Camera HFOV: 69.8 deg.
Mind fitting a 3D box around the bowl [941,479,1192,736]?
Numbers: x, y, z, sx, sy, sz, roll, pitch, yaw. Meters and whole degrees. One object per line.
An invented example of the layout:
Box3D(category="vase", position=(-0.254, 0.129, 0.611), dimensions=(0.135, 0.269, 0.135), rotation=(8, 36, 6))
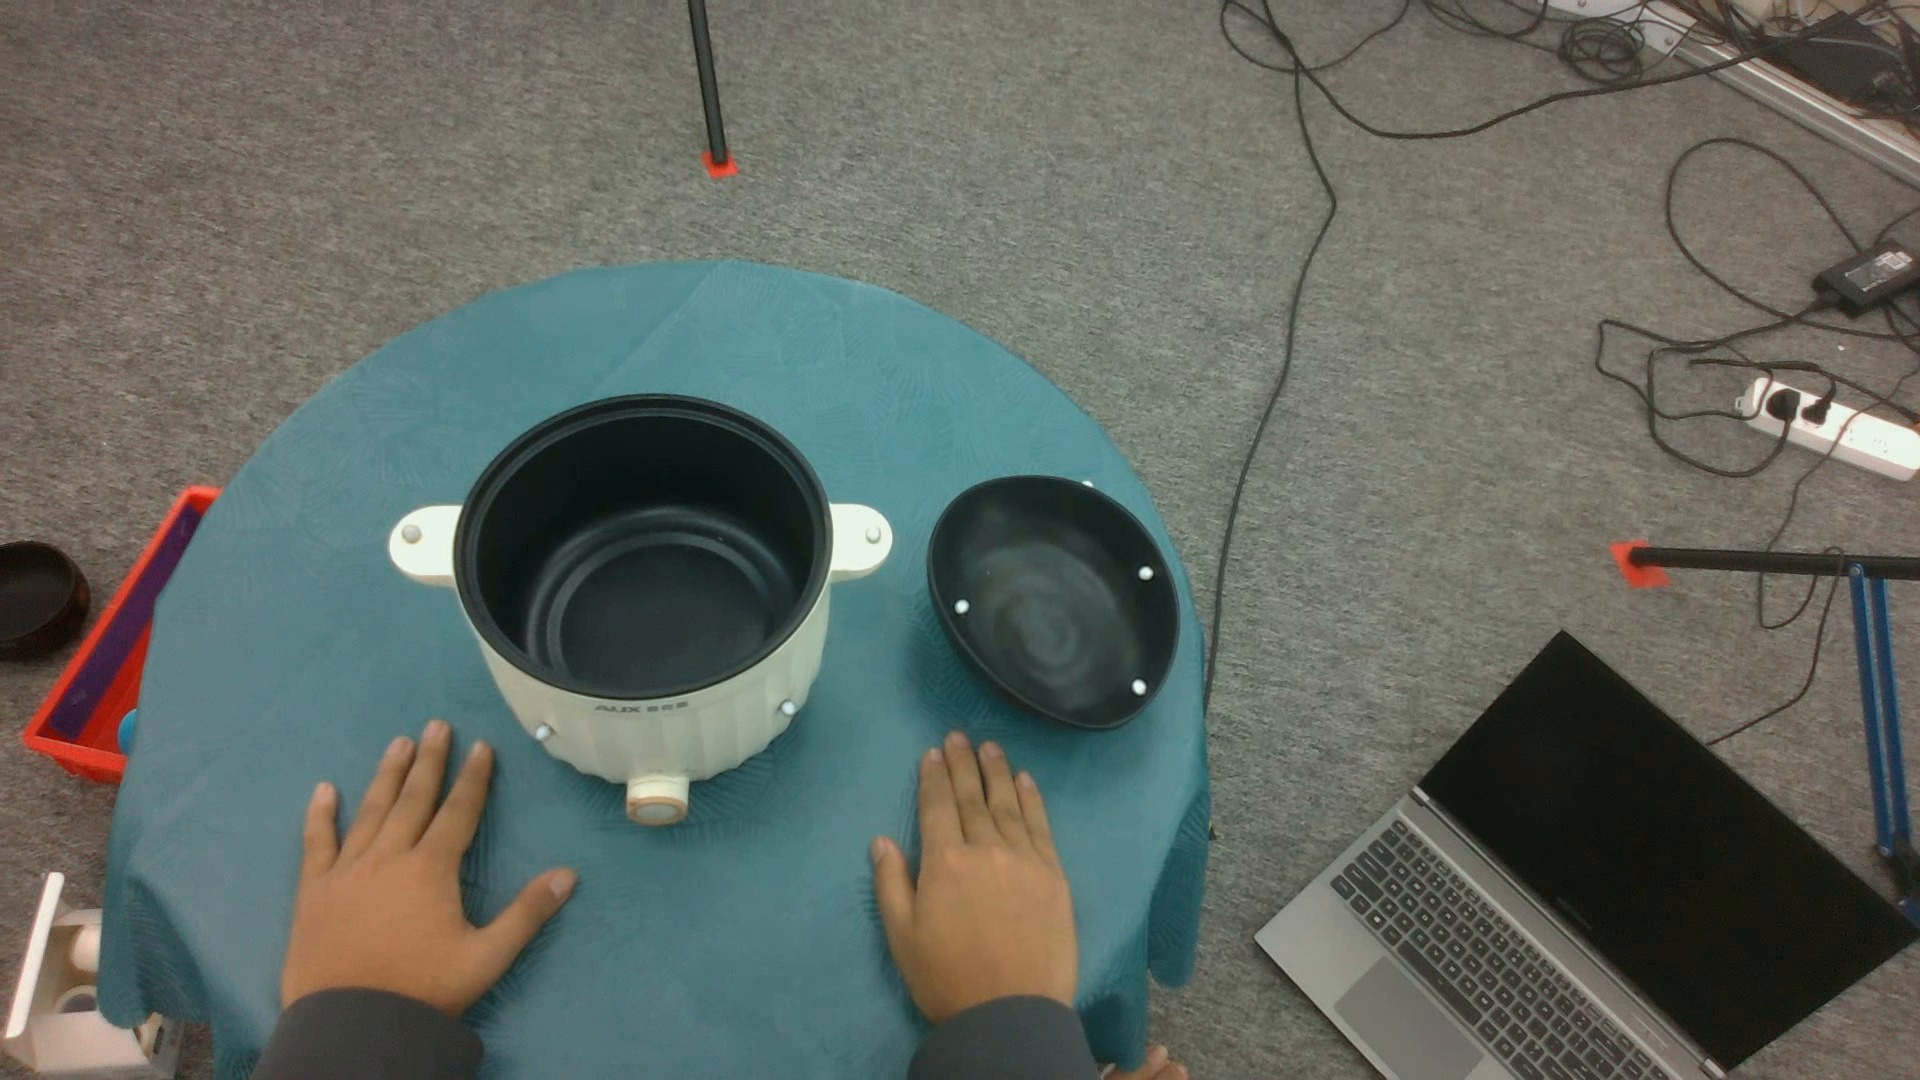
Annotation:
Box3D(category="bowl", position=(0.061, 0.045, 0.807), dimensions=(0.138, 0.066, 0.170), rotation=(-23, 61, -19))

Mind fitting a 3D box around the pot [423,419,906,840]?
Box3D(category="pot", position=(-0.148, 0.051, 0.744), dimensions=(0.240, 0.142, 0.191), rotation=(-5, 52, -6))
